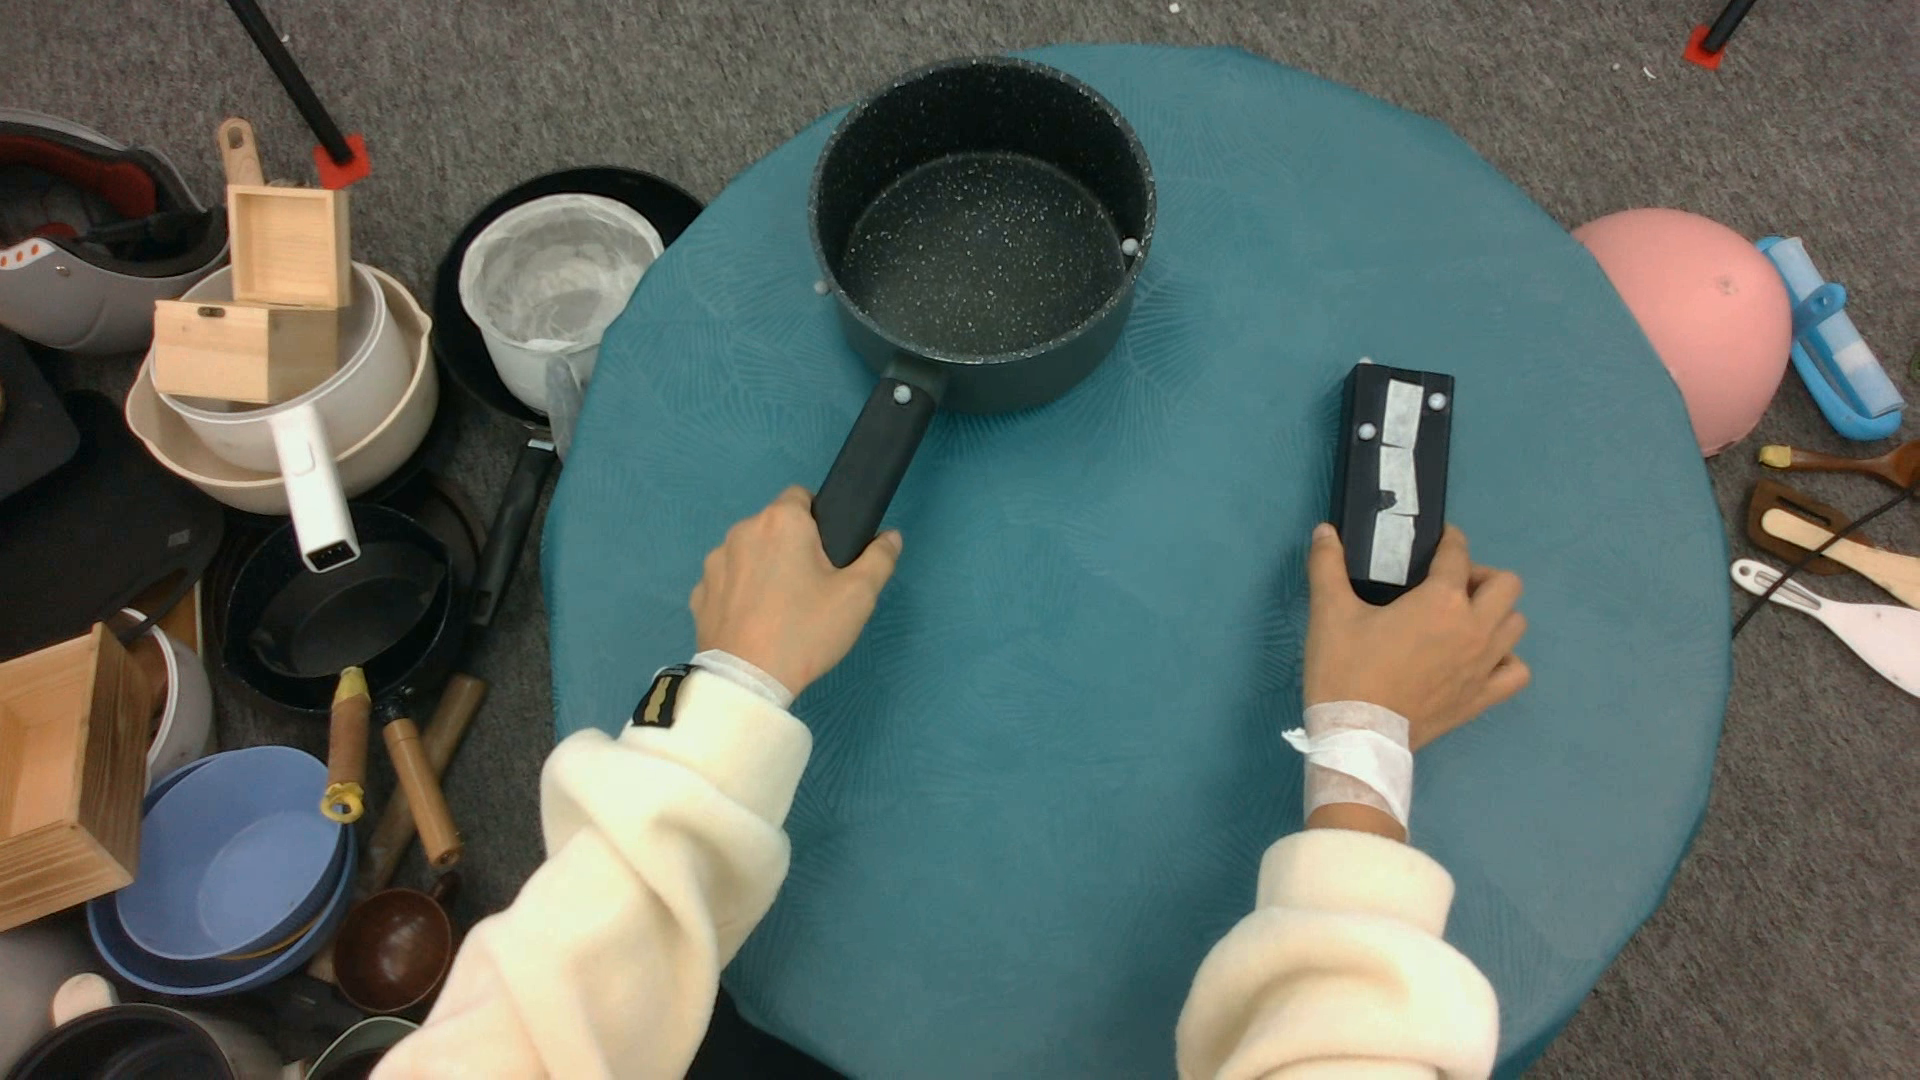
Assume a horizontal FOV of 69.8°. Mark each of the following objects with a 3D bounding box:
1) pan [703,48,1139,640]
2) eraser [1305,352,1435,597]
[{"bbox_3d":[-0.029,-0.091,0.682,0.172,0.086,0.330,22,71,9],"label":"pan"},{"bbox_3d":[0.208,-0.035,0.701,0.053,0.030,0.126,10,69,6],"label":"eraser"}]
